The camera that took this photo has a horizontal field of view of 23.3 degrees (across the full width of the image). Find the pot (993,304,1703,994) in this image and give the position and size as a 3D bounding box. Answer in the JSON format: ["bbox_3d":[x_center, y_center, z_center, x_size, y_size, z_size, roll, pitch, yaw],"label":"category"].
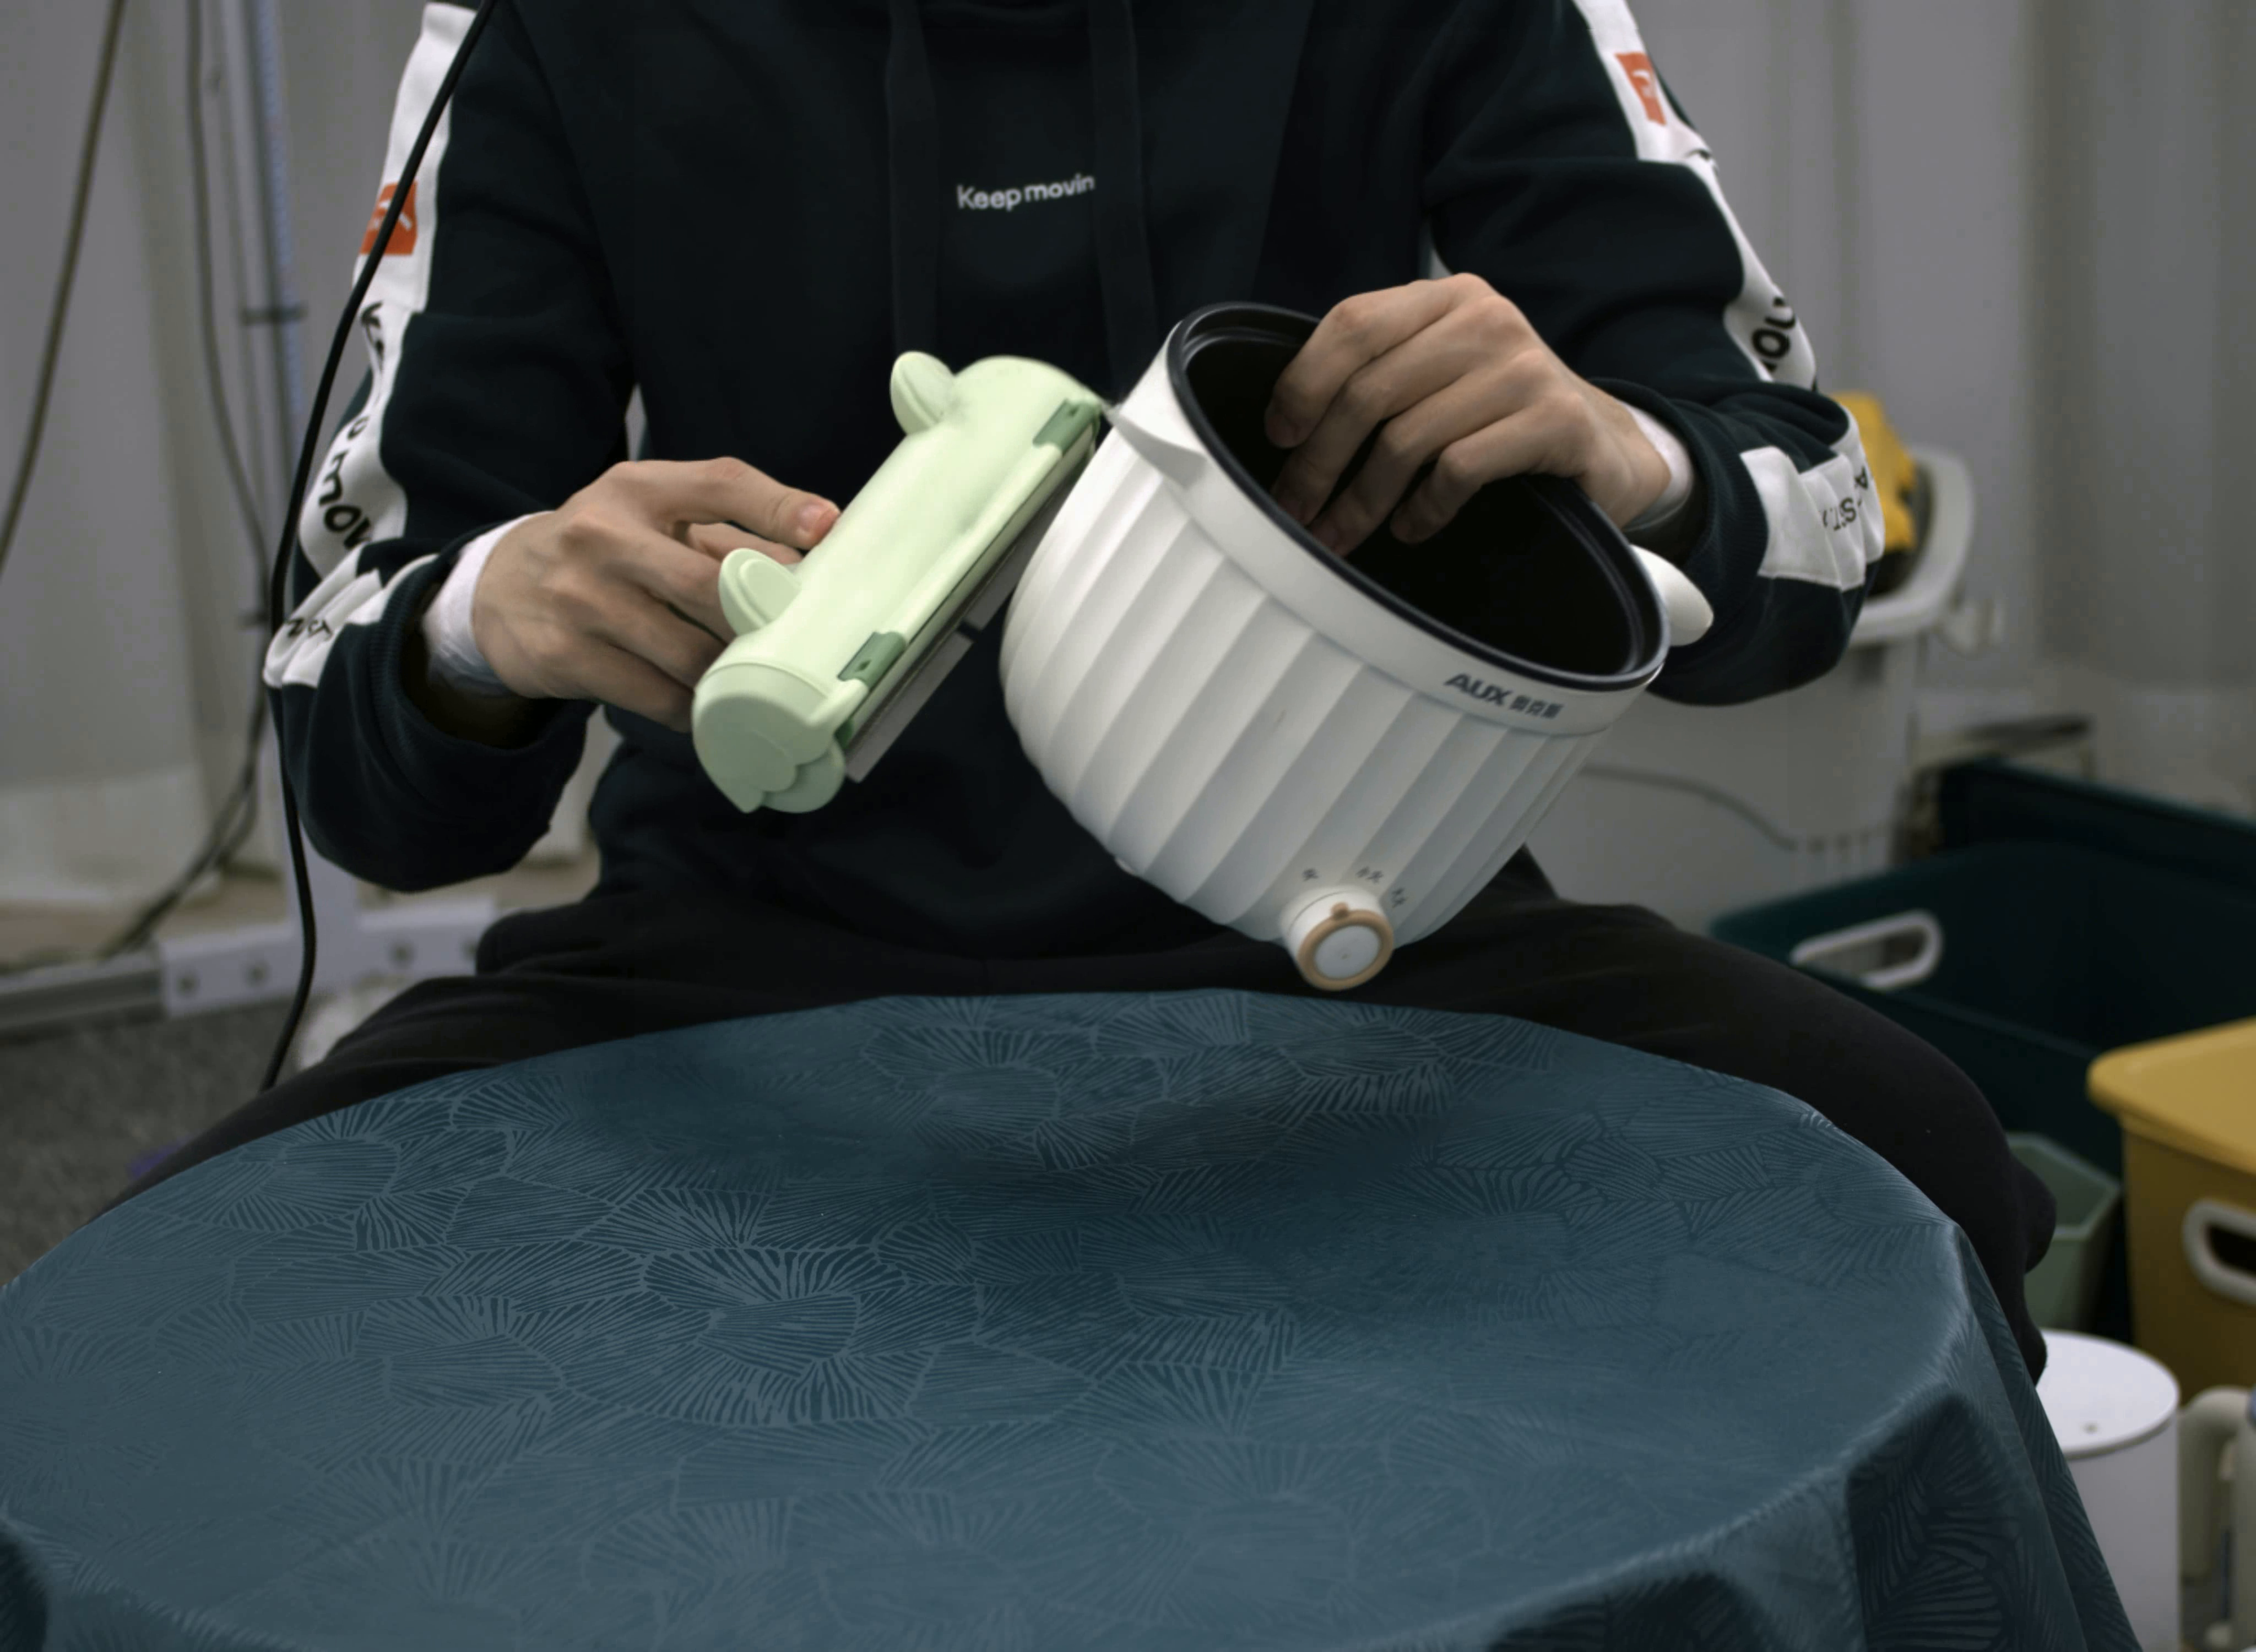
[{"bbox_3d":[0.056,-0.049,1.697,0.238,0.142,0.193,16,28,-32],"label":"pot"}]

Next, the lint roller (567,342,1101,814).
[{"bbox_3d":[-0.119,-0.083,1.752,0.183,0.081,0.200,-4,35,33],"label":"lint roller"}]
